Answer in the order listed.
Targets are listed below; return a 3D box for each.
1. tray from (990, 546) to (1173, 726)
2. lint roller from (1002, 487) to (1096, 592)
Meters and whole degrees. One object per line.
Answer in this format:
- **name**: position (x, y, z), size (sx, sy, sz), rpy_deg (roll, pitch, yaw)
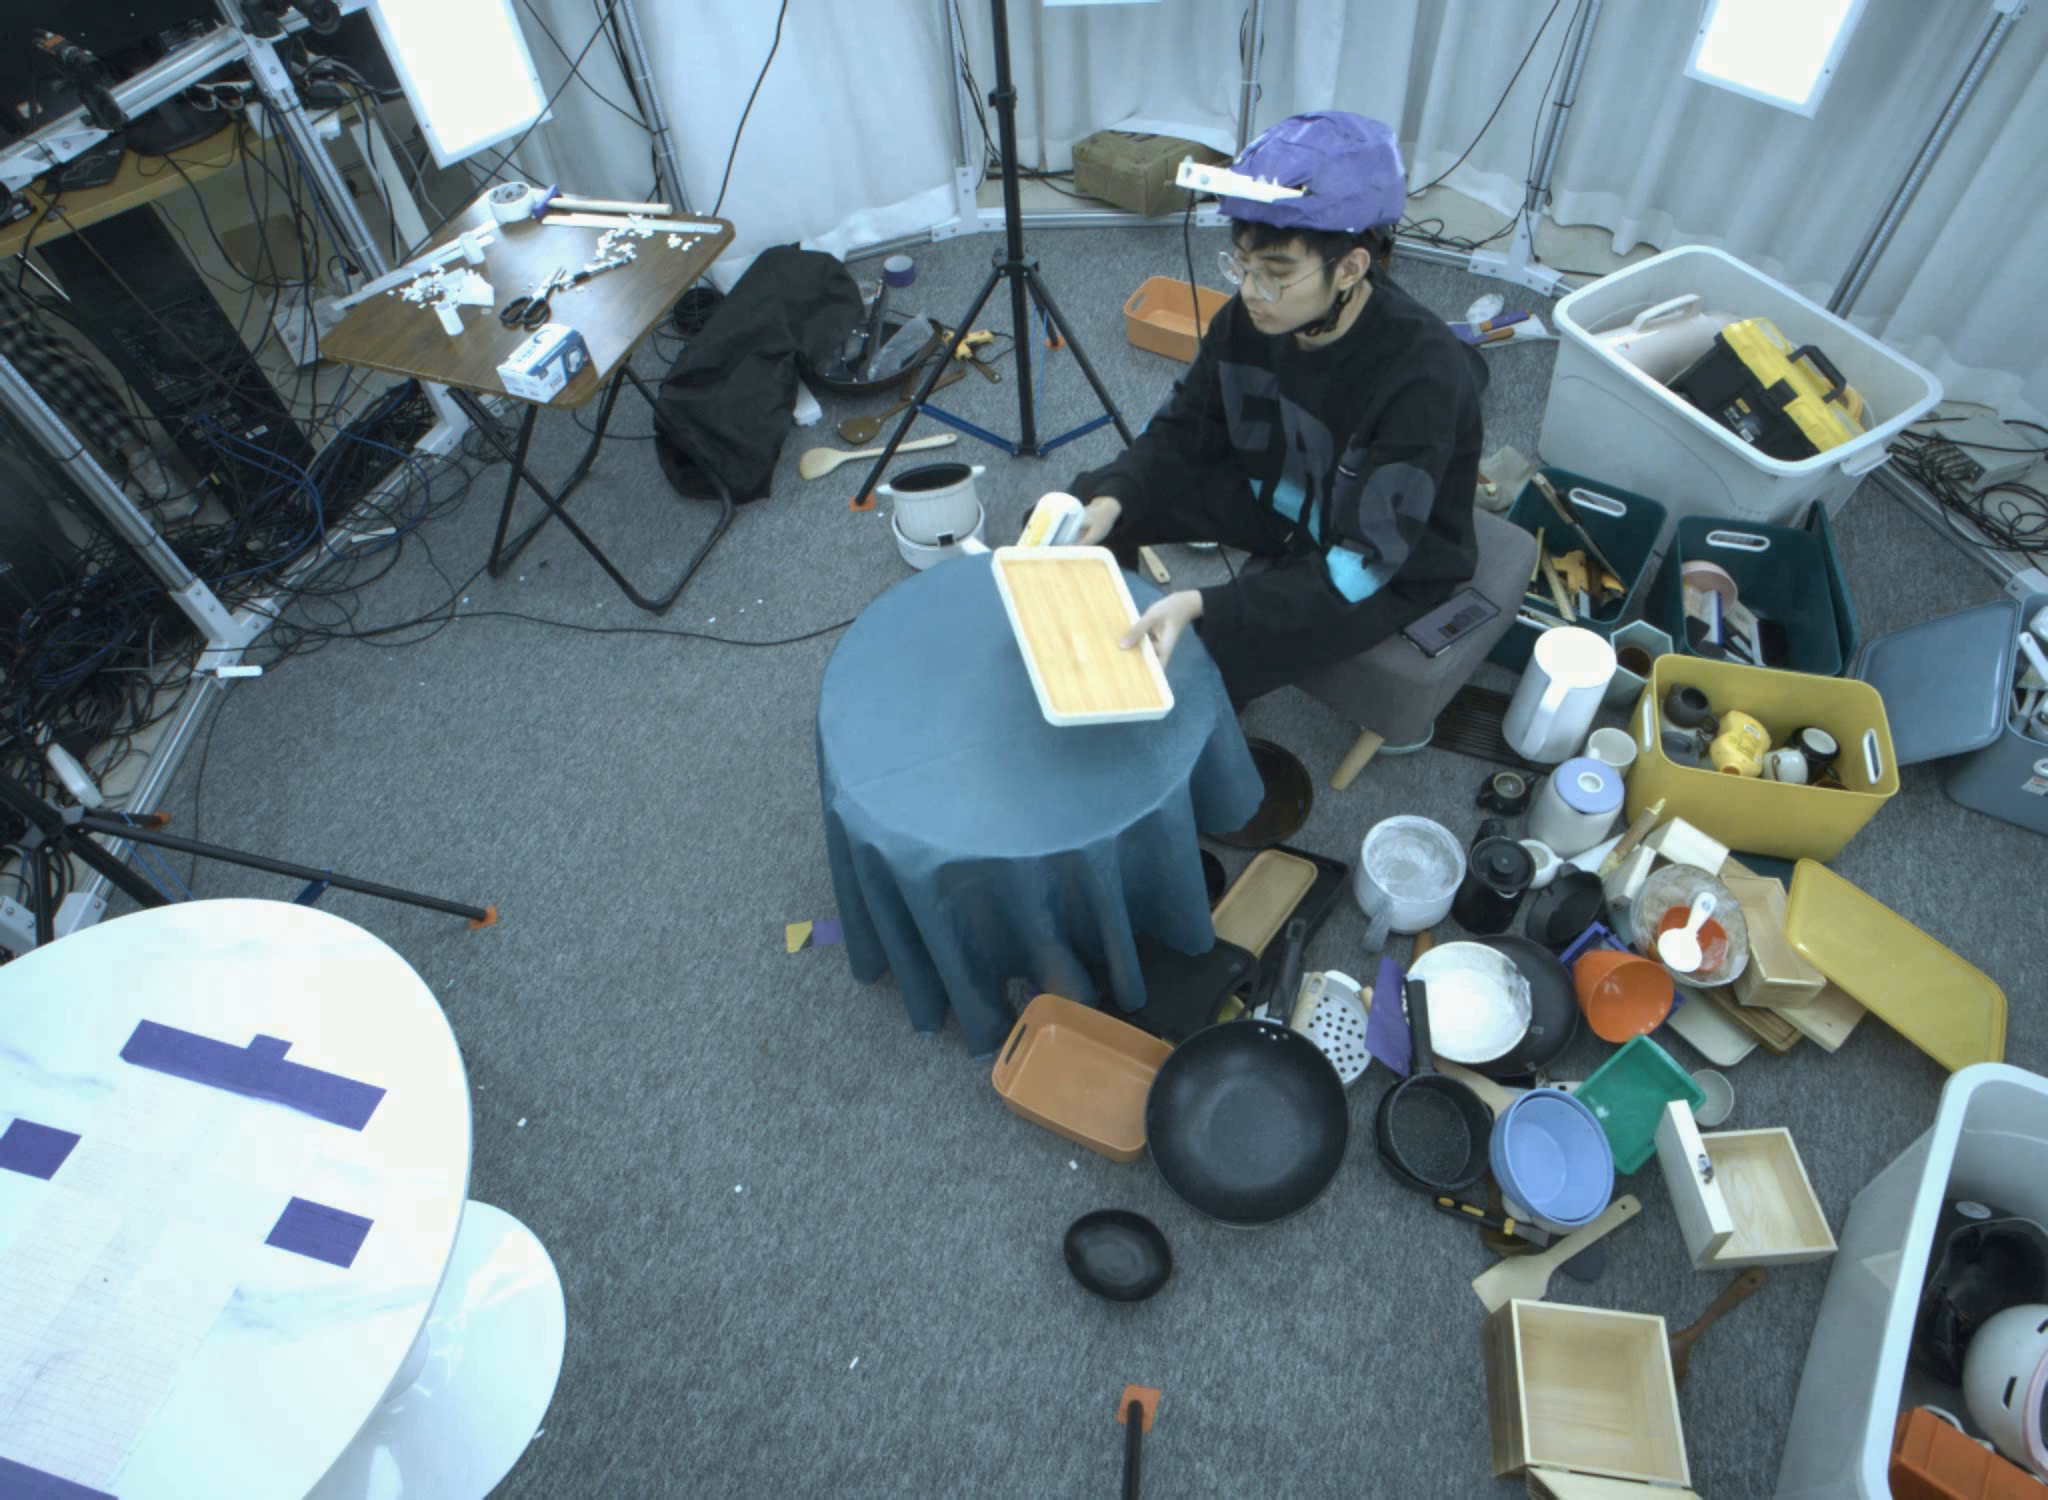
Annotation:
- **tray**: position (0.077, -0.165, 1.714), size (0.195, 0.027, 0.296), rpy_deg (-4, 59, -26)
- **lint roller**: position (0.060, -0.311, 1.865), size (0.073, 0.193, 0.196), rpy_deg (40, 28, 27)
